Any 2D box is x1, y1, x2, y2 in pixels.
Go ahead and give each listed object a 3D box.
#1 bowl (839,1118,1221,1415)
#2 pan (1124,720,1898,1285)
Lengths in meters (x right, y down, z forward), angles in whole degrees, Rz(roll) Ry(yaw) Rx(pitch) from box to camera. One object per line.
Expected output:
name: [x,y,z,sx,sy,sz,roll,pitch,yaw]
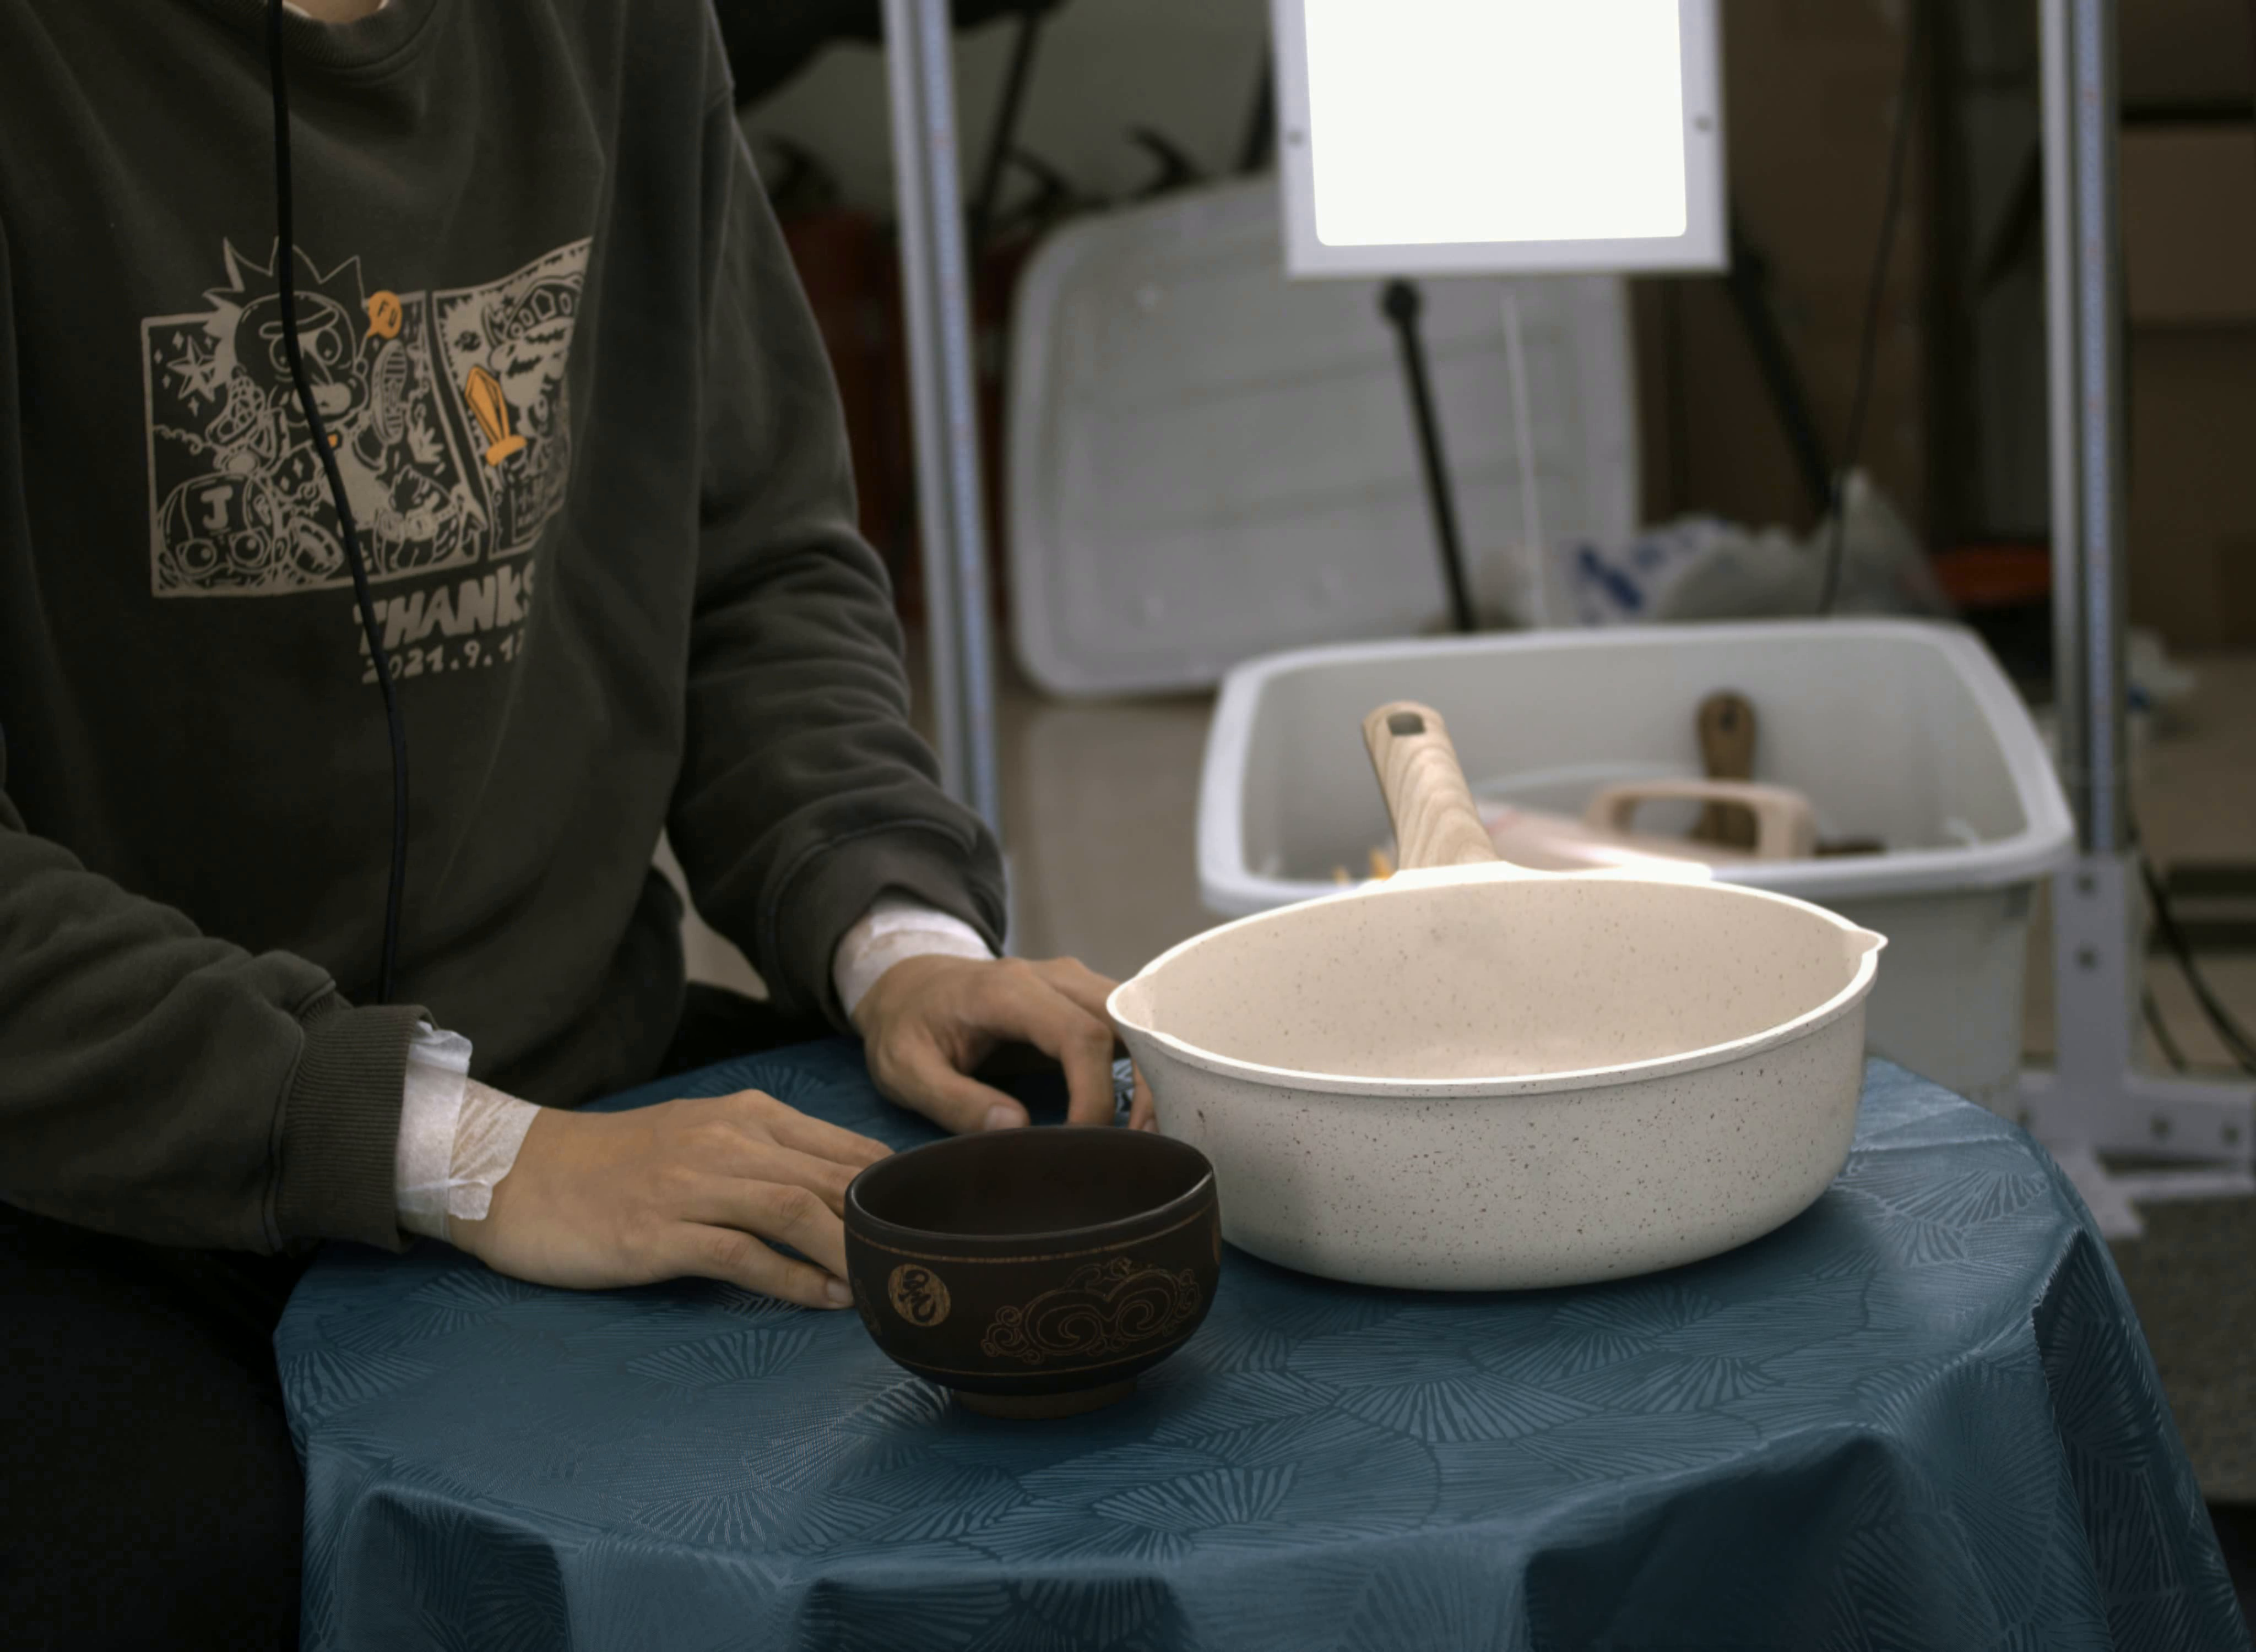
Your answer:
bowl: [-0.028,0.140,1.702,0.118,0.070,0.118,-7,14,0]
pan: [0.126,0.057,1.927,0.262,0.102,0.435,-7,14,-1]
